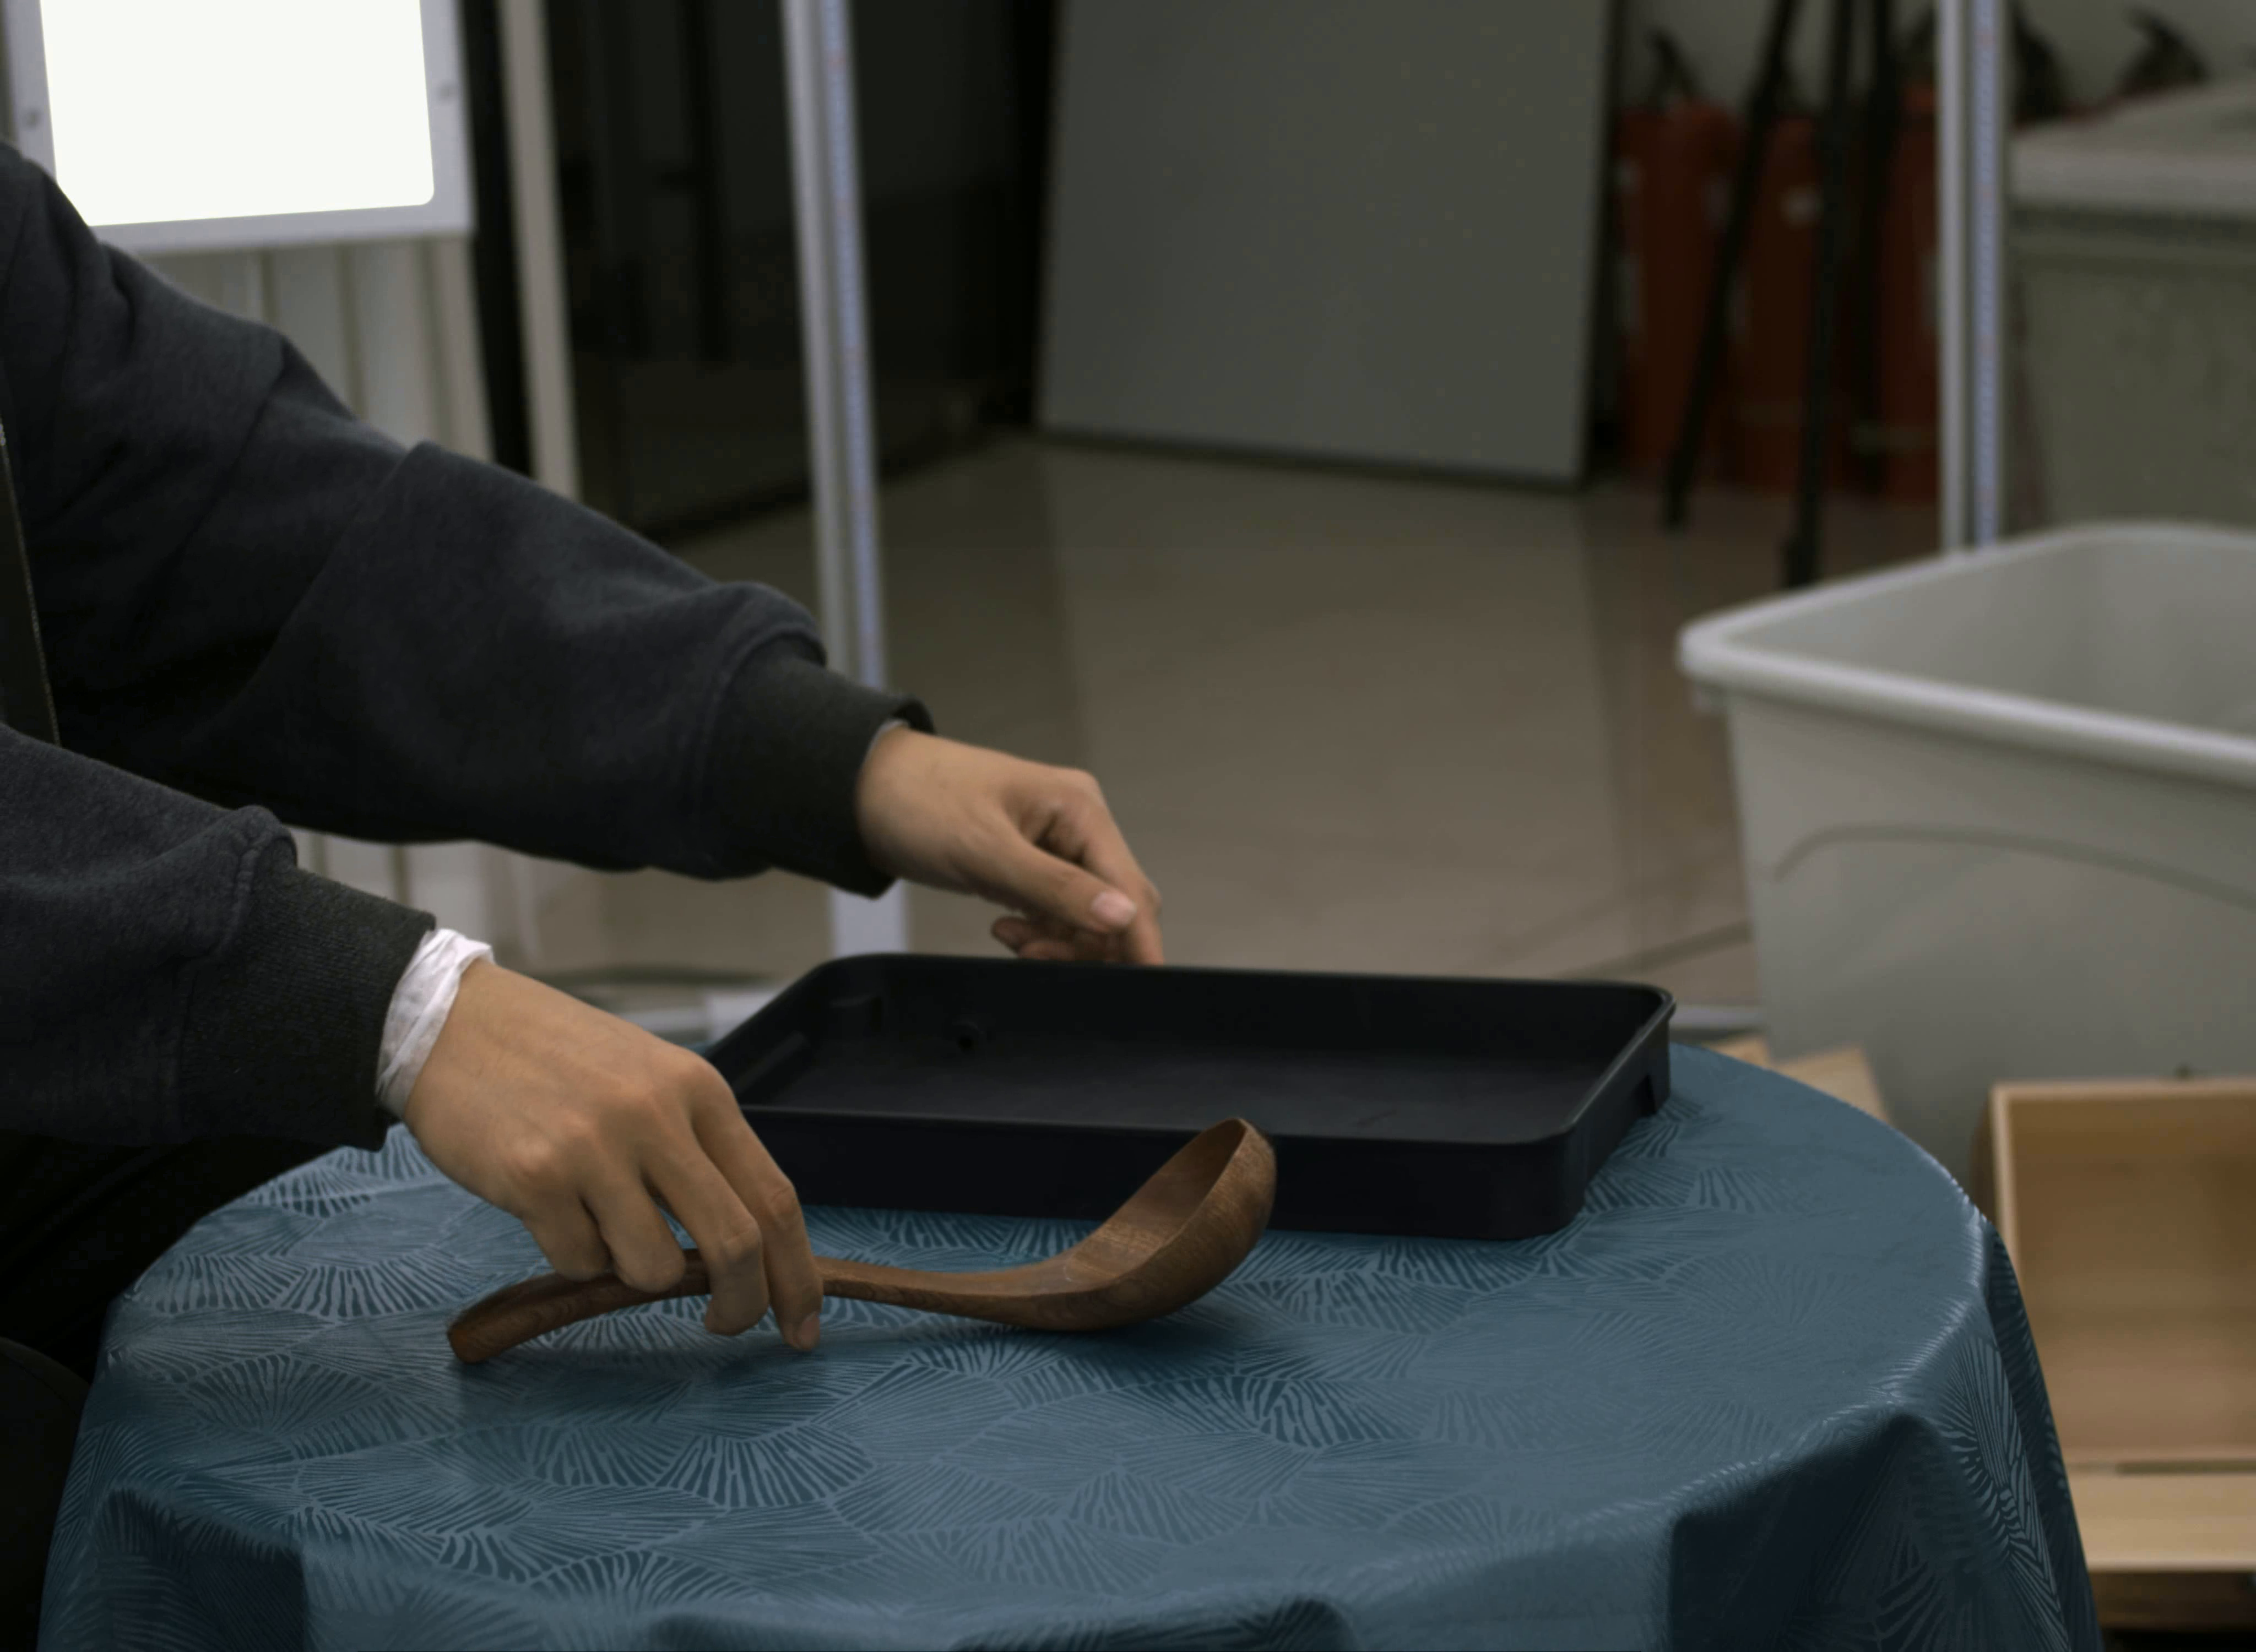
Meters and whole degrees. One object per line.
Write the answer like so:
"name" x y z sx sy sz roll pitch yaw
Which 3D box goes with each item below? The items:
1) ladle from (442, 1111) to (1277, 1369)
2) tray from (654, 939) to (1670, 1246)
"ladle" -0.082 0.126 1.637 0.257 0.066 0.076 -3 14 4
"tray" 0.014 0.087 1.816 0.317 0.037 0.182 3 15 20
